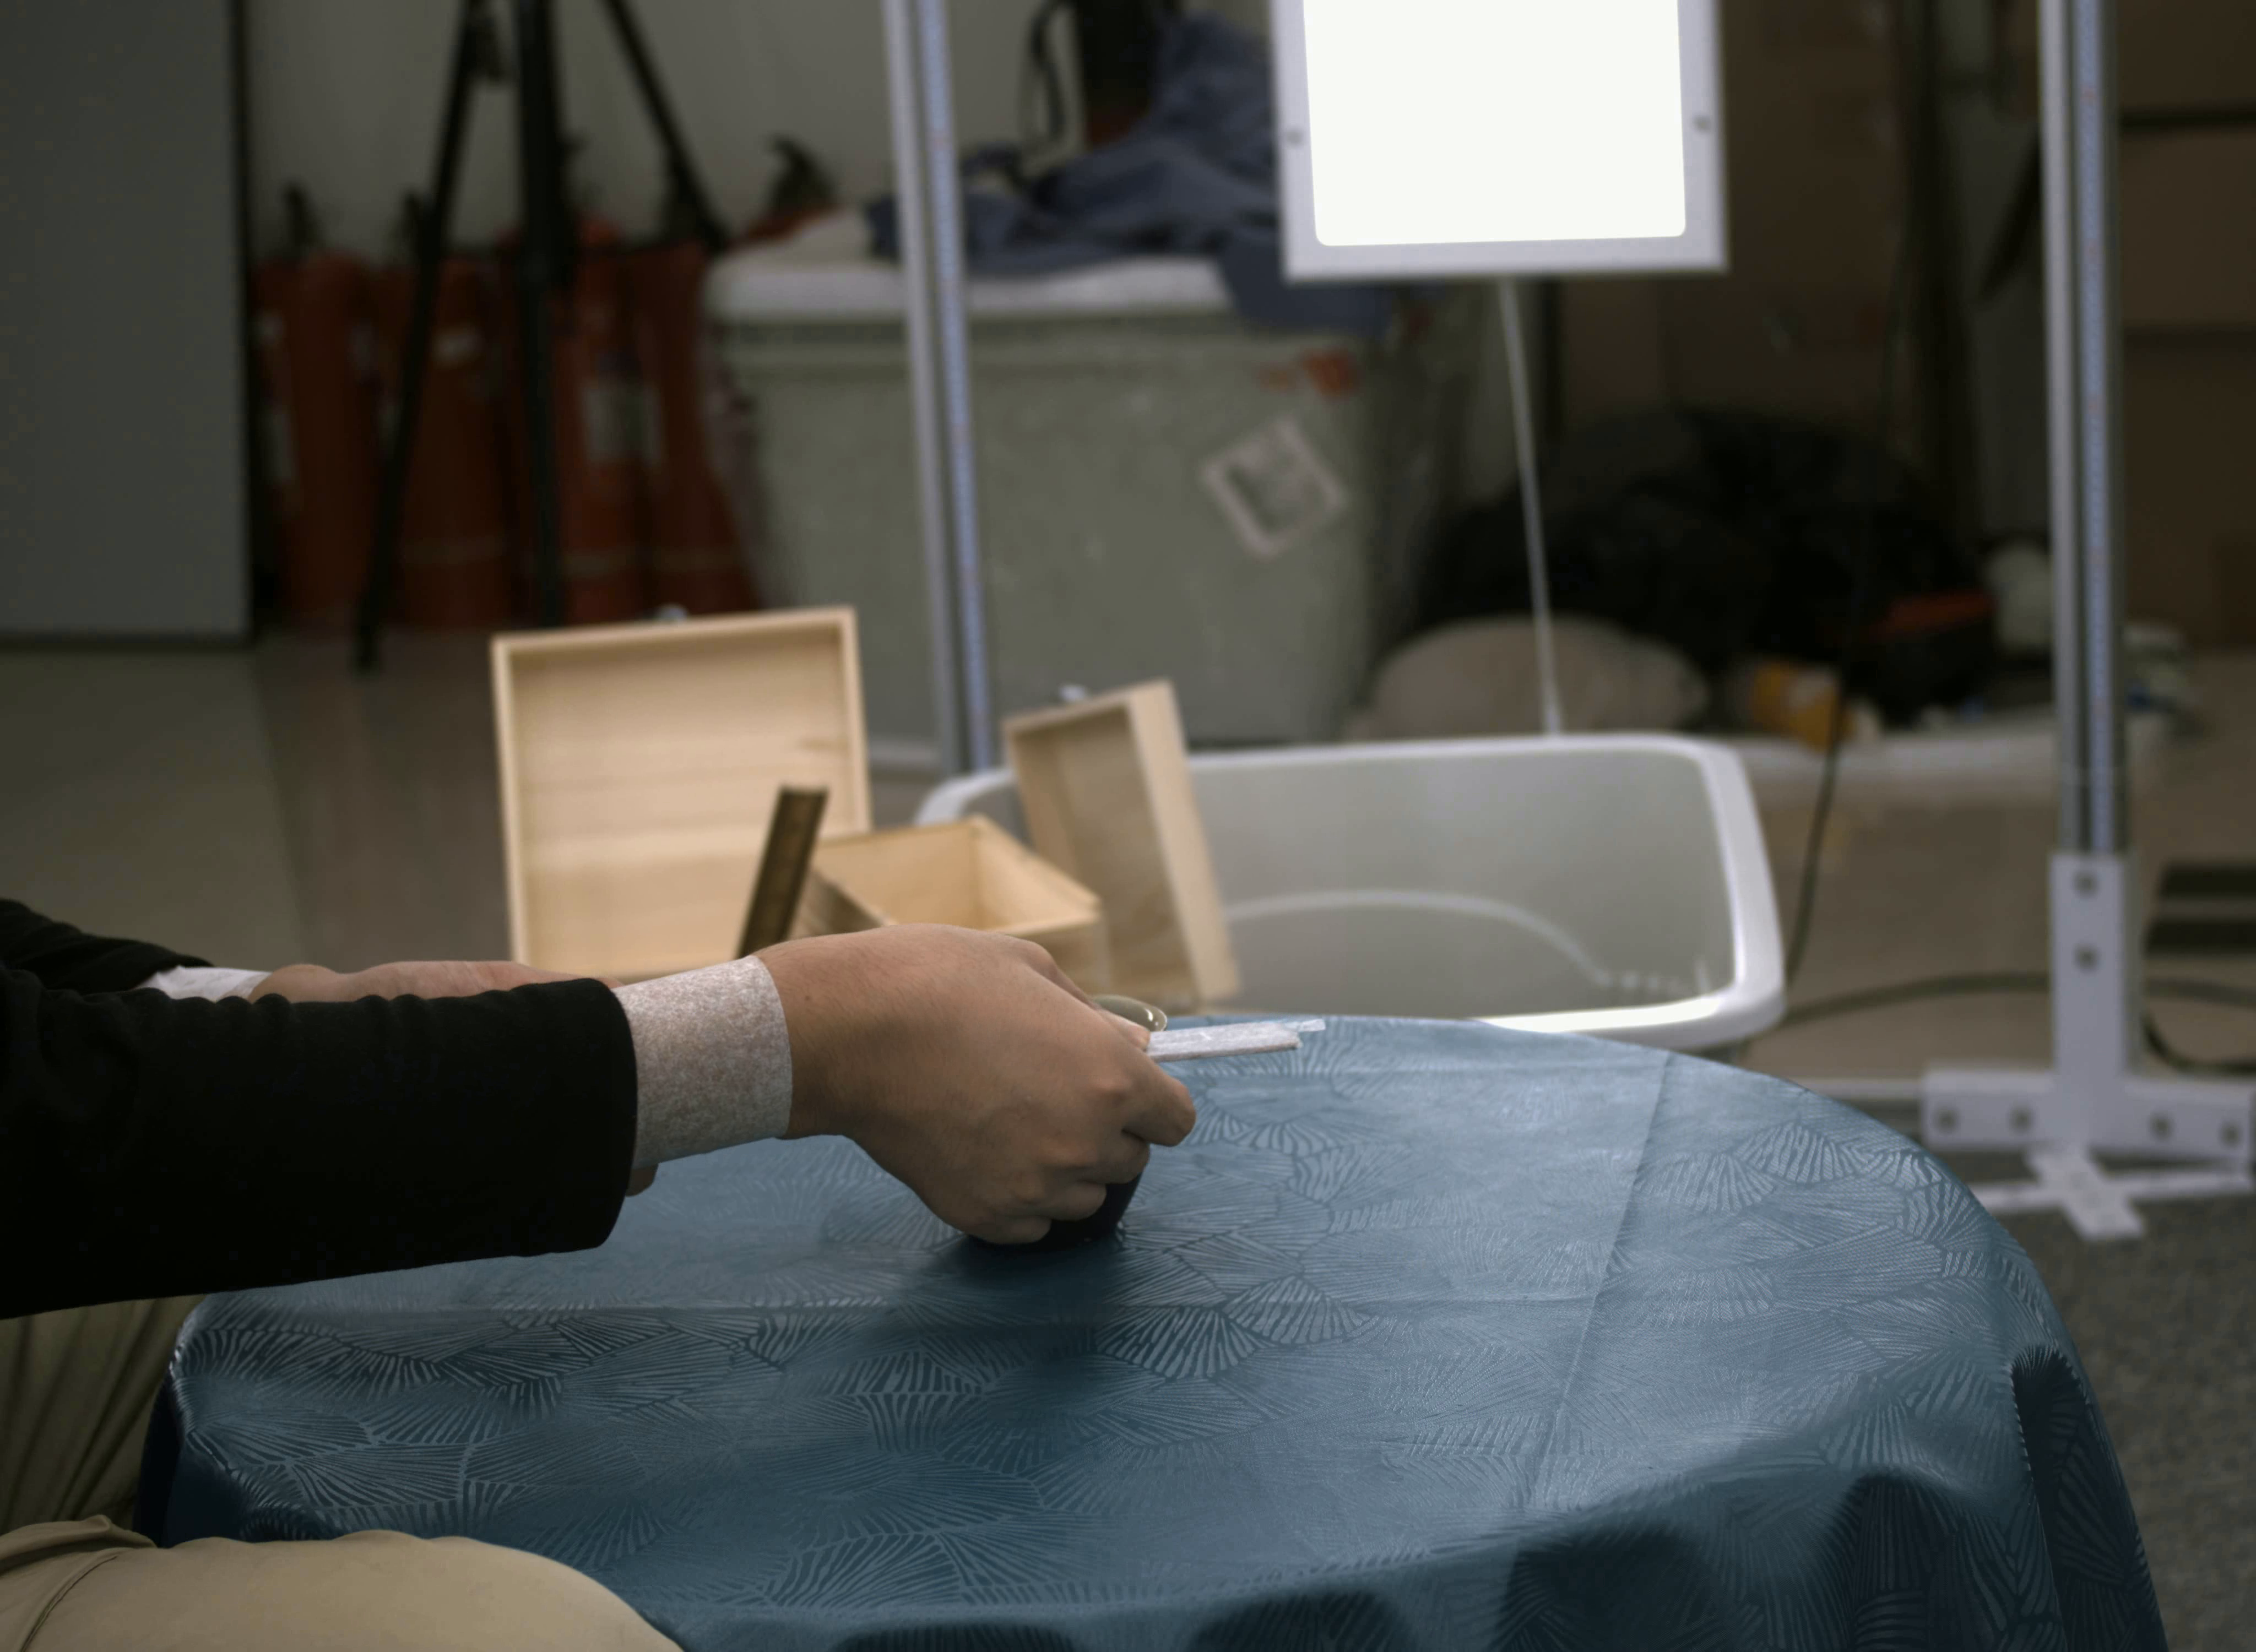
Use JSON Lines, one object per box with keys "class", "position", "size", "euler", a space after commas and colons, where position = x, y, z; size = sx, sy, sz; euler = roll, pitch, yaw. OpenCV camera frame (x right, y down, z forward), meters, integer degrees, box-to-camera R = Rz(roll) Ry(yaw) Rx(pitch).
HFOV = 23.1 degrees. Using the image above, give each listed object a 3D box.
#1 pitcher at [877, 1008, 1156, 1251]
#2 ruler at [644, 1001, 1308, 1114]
{"class": "pitcher", "position": [-0.036, 0.102, 1.858], "size": [0.096, 0.071, 0.083], "euler": [-2, 15, 10]}
{"class": "ruler", "position": [-0.051, 0.067, 1.782], "size": [0.220, 0.024, 0.038], "euler": [-7, 16, 12]}
